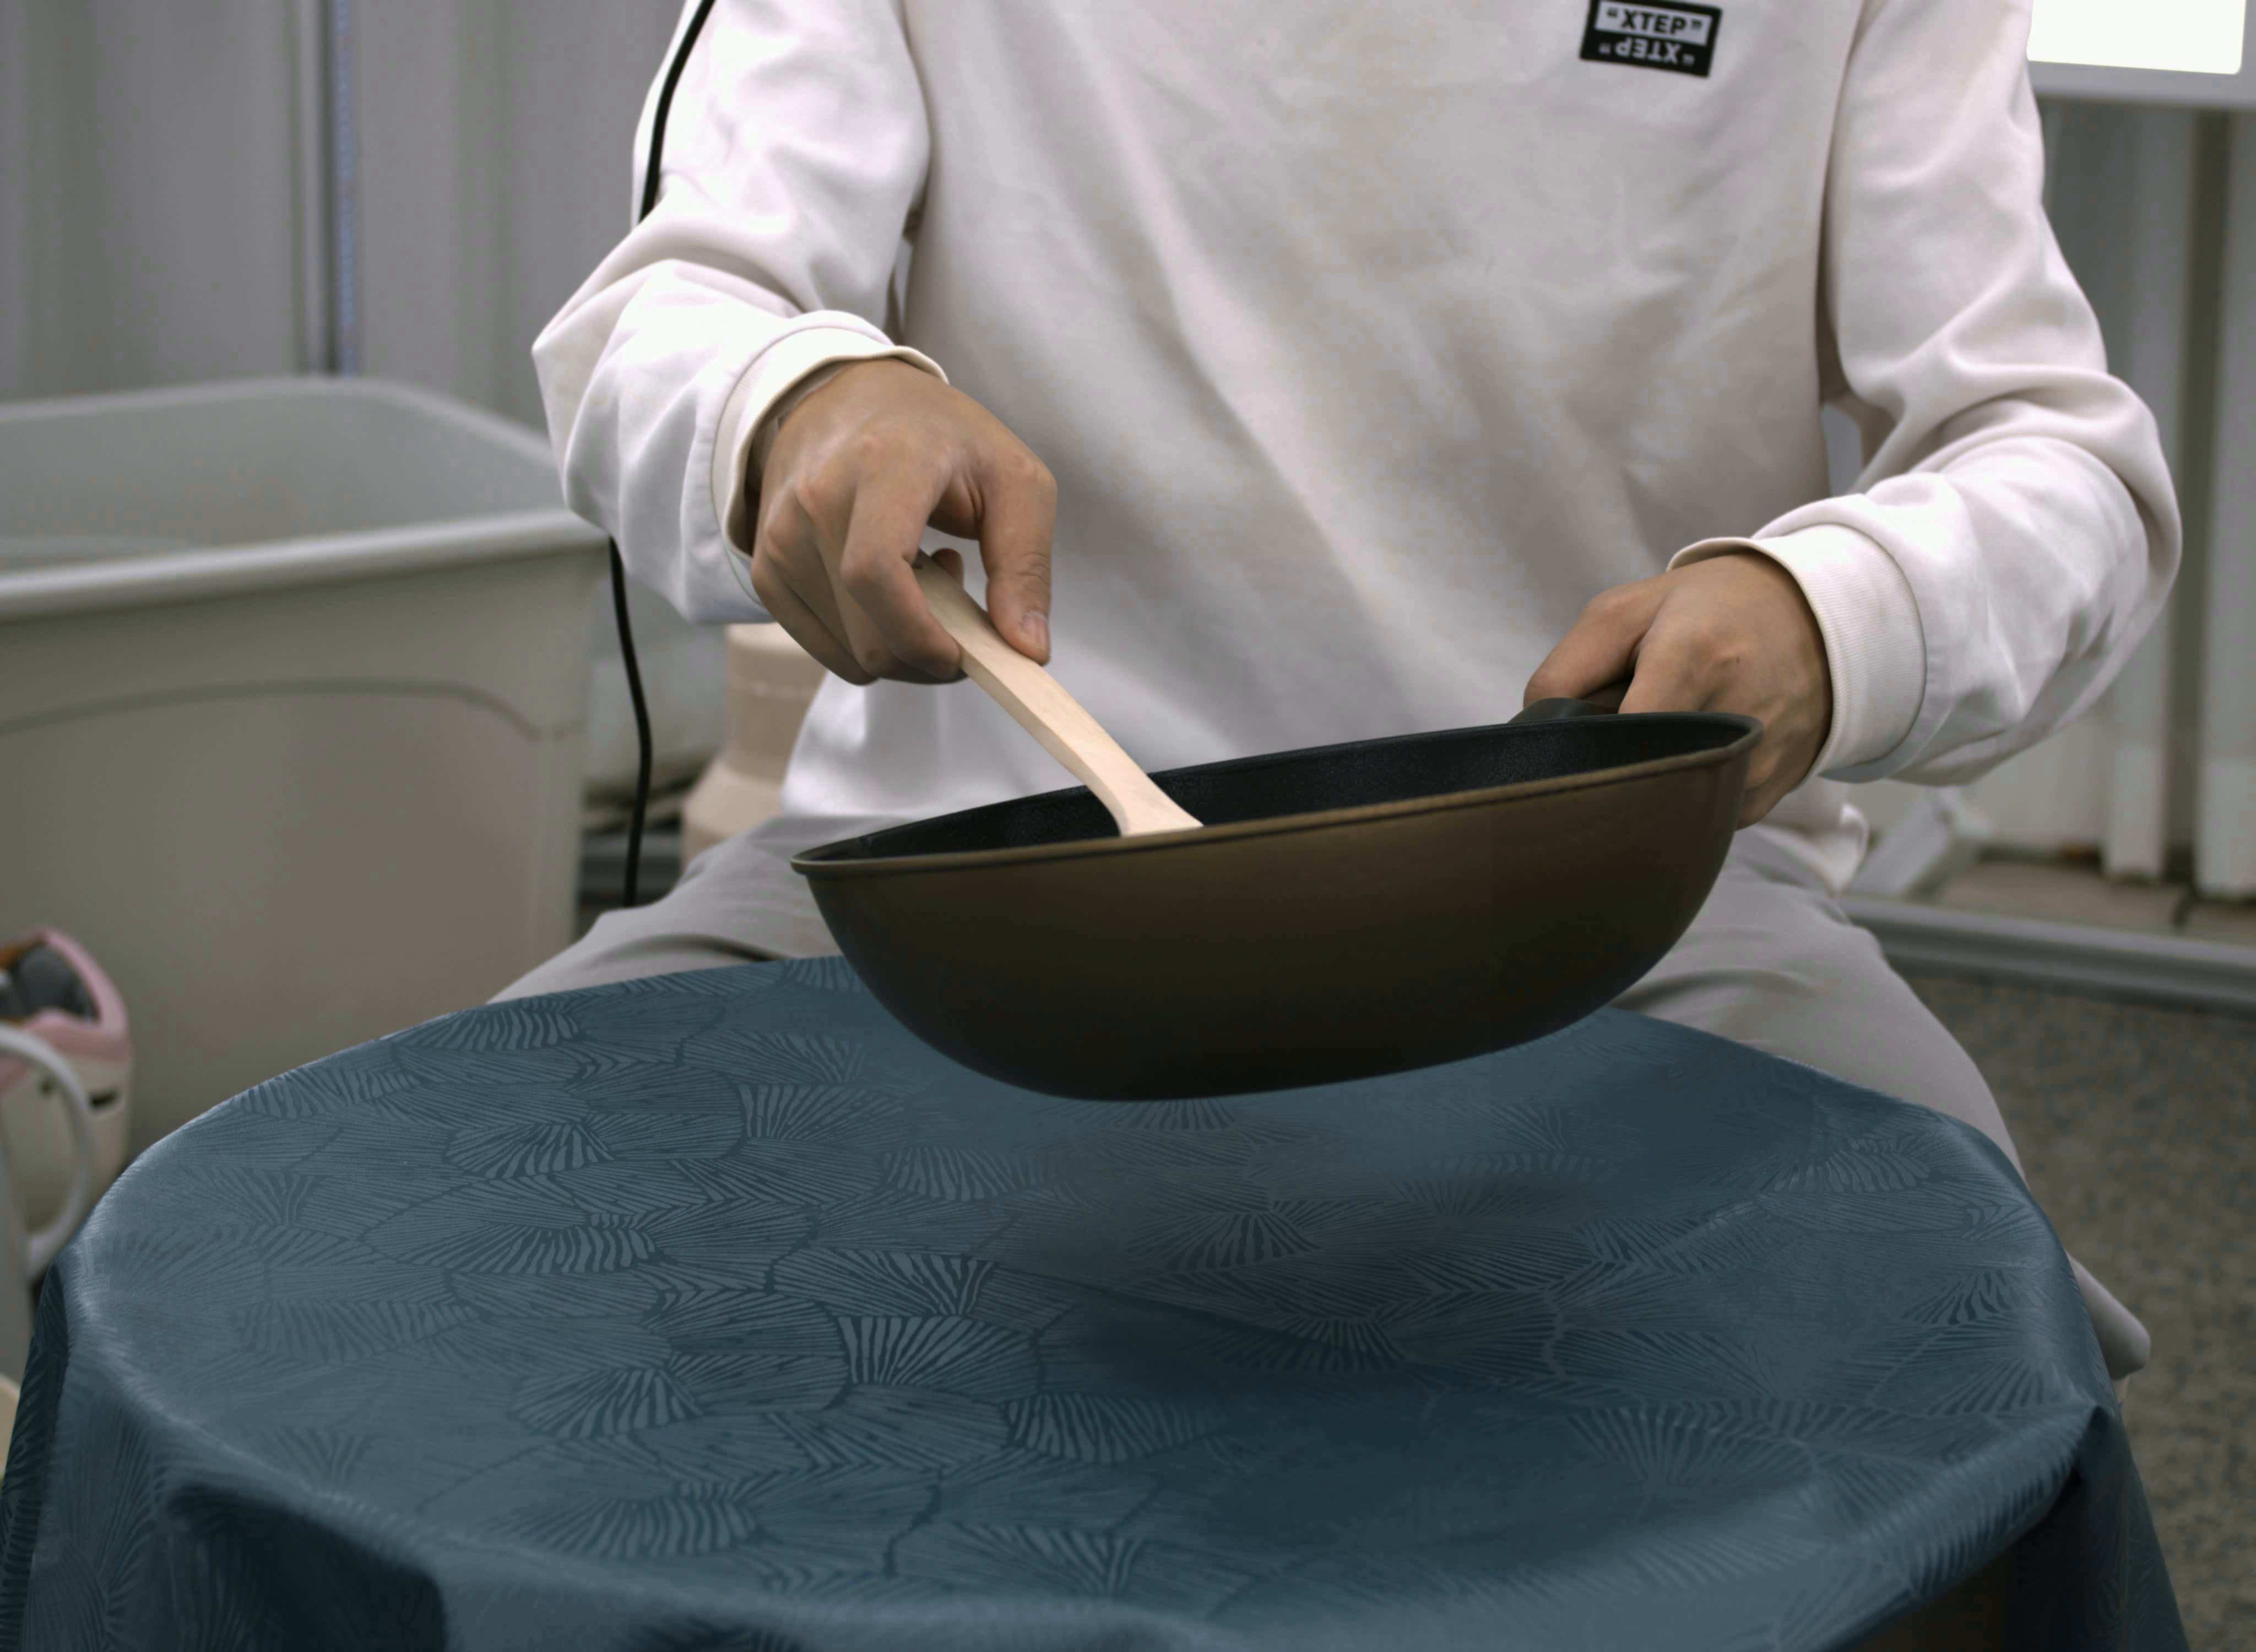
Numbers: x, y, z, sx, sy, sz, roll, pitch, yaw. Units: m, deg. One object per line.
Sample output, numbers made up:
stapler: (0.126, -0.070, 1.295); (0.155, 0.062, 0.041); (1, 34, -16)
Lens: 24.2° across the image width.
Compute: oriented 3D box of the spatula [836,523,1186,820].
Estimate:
spatula: (-0.012, -0.023, 1.600); (0.073, 0.011, 0.289); (7, 26, -41)

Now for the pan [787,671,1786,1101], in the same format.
pan: (0.093, 0.015, 1.591); (0.285, 0.087, 0.465); (-5, 5, 31)
